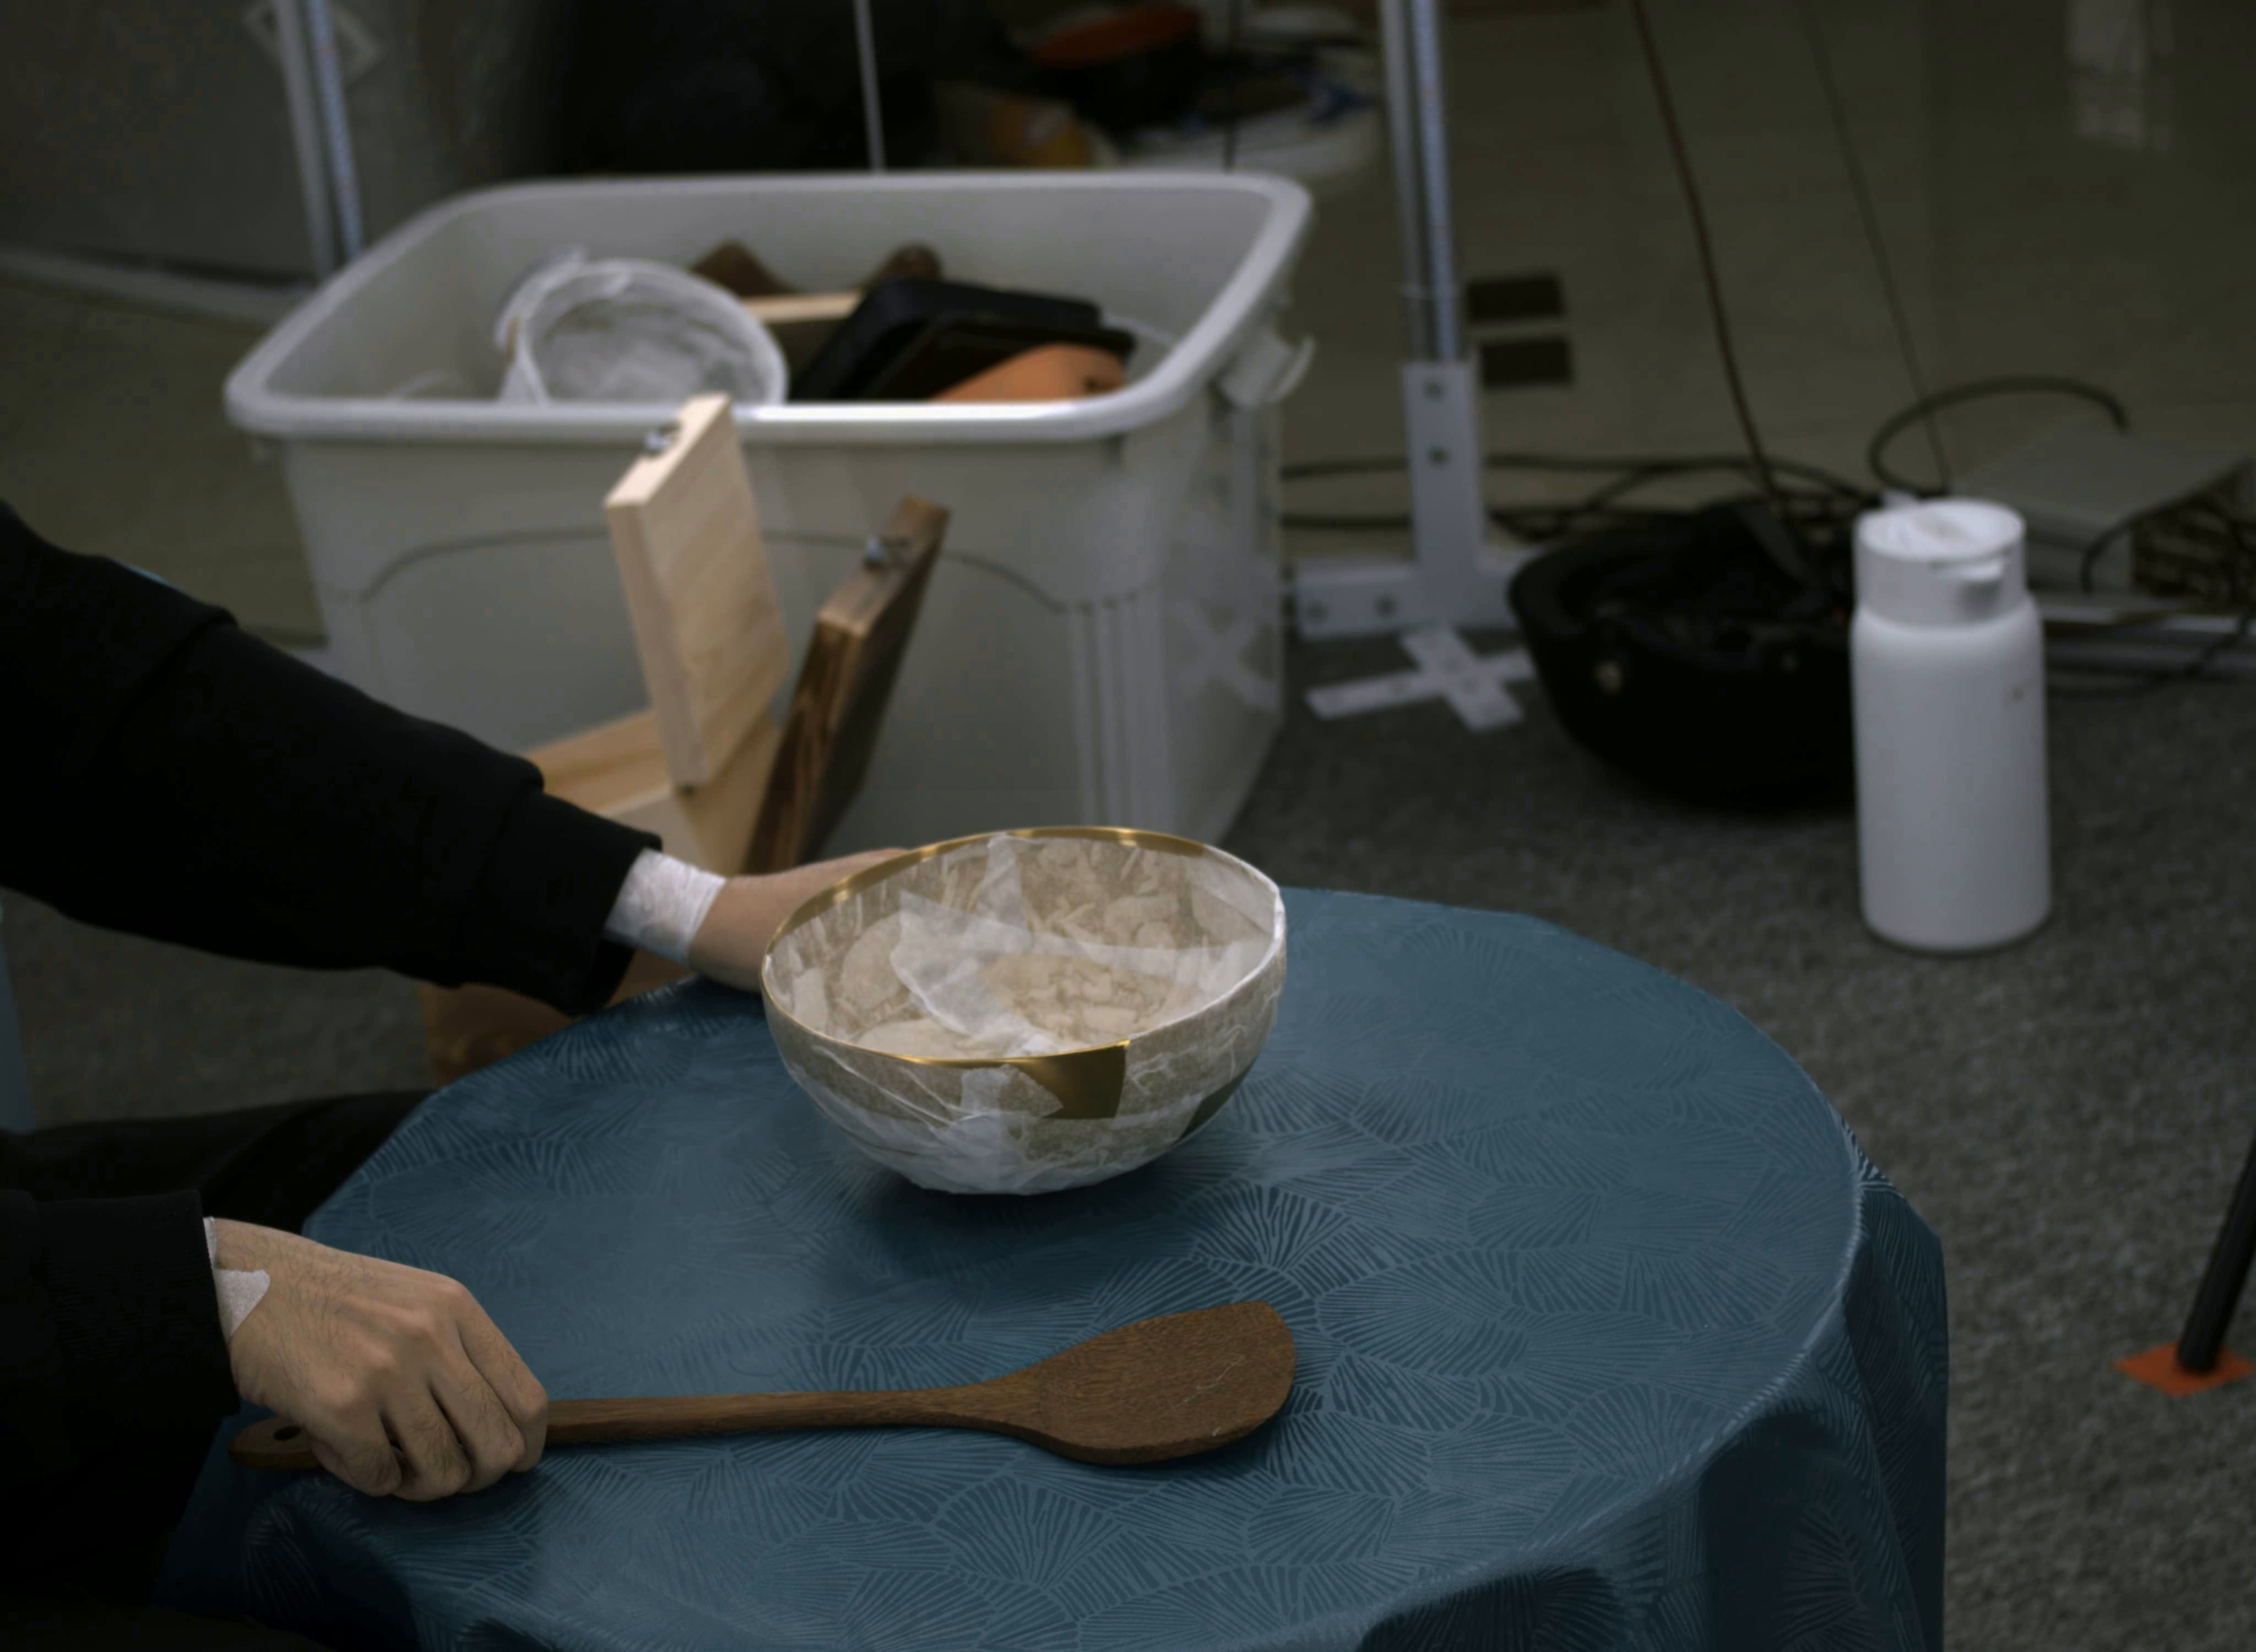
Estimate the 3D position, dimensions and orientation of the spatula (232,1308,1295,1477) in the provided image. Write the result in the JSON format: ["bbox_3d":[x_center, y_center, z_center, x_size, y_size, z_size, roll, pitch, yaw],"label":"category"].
[{"bbox_3d":[-0.132,0.209,2.020,0.385,0.016,0.095,-4,24,6],"label":"spatula"}]

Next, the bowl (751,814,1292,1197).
[{"bbox_3d":[-0.037,0.081,2.173,0.214,0.096,0.211,-6,26,3],"label":"bowl"}]
